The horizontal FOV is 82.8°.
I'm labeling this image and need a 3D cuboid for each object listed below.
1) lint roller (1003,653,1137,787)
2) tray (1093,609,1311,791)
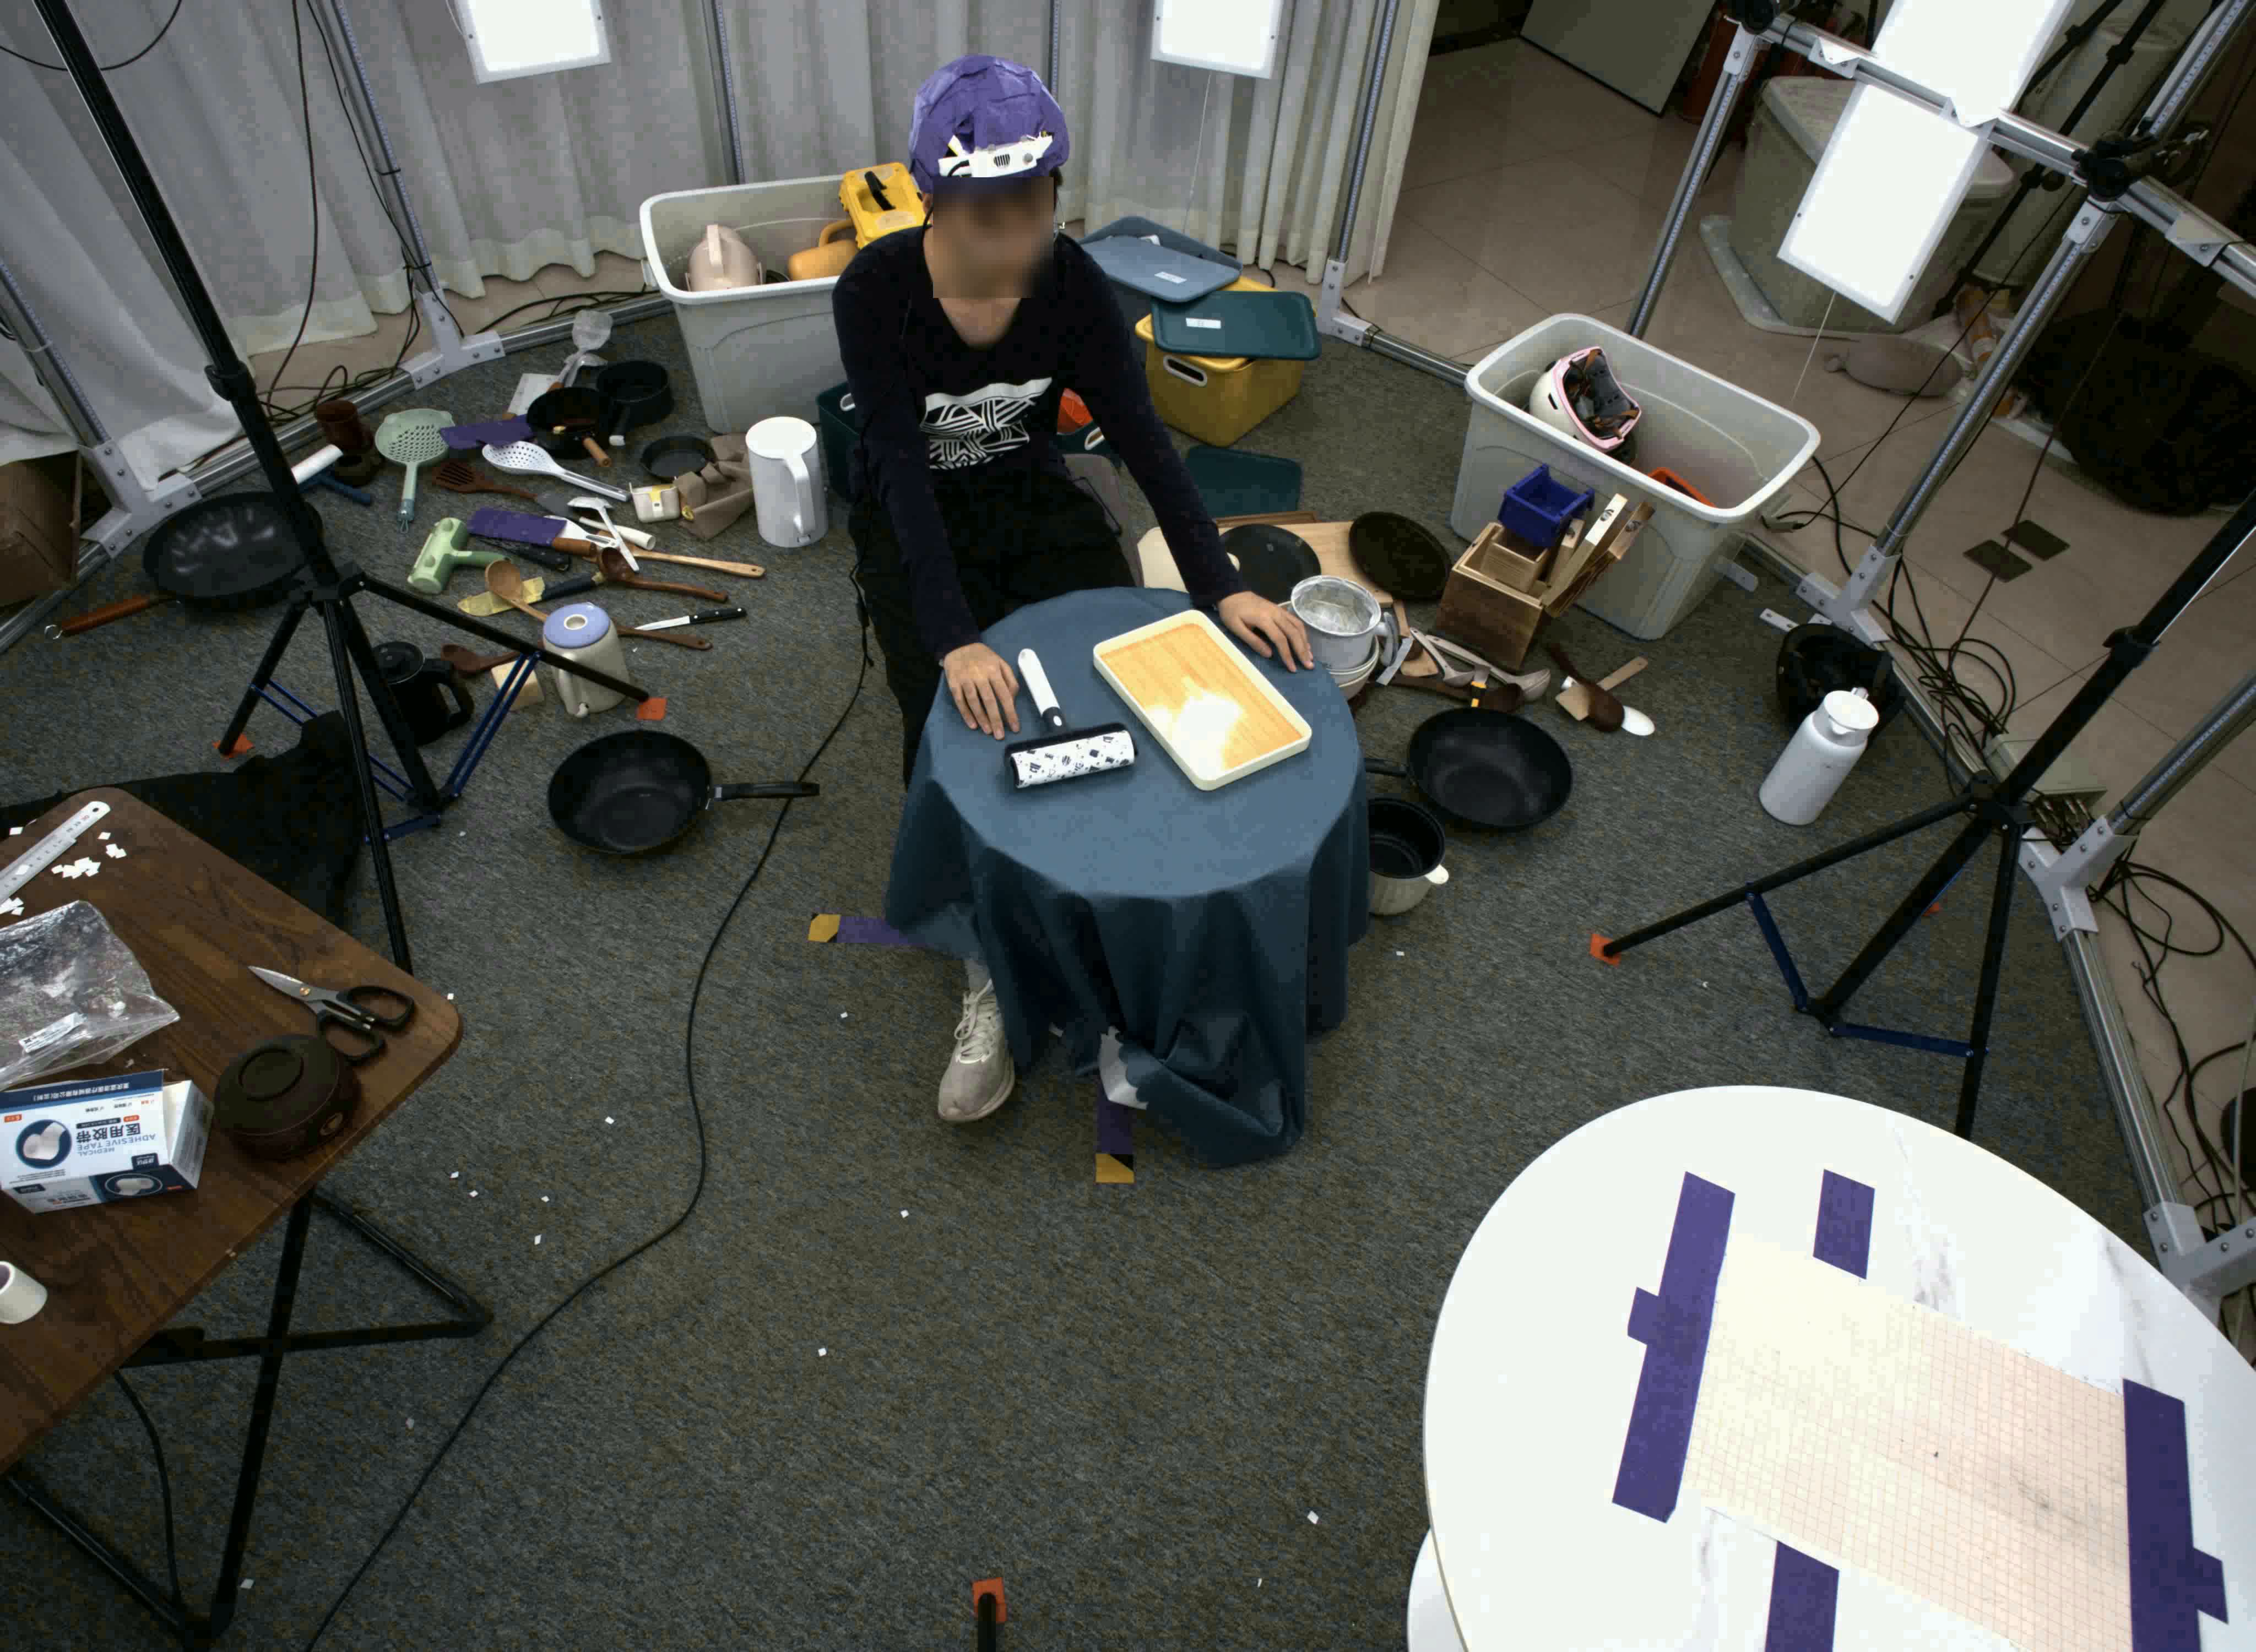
[{"bbox_3d":[-0.110,-0.163,1.774,0.176,0.049,0.253,-14,50,-15],"label":"lint roller"},{"bbox_3d":[0.100,-0.185,1.817,0.192,0.027,0.306,-23,54,-22],"label":"tray"}]
